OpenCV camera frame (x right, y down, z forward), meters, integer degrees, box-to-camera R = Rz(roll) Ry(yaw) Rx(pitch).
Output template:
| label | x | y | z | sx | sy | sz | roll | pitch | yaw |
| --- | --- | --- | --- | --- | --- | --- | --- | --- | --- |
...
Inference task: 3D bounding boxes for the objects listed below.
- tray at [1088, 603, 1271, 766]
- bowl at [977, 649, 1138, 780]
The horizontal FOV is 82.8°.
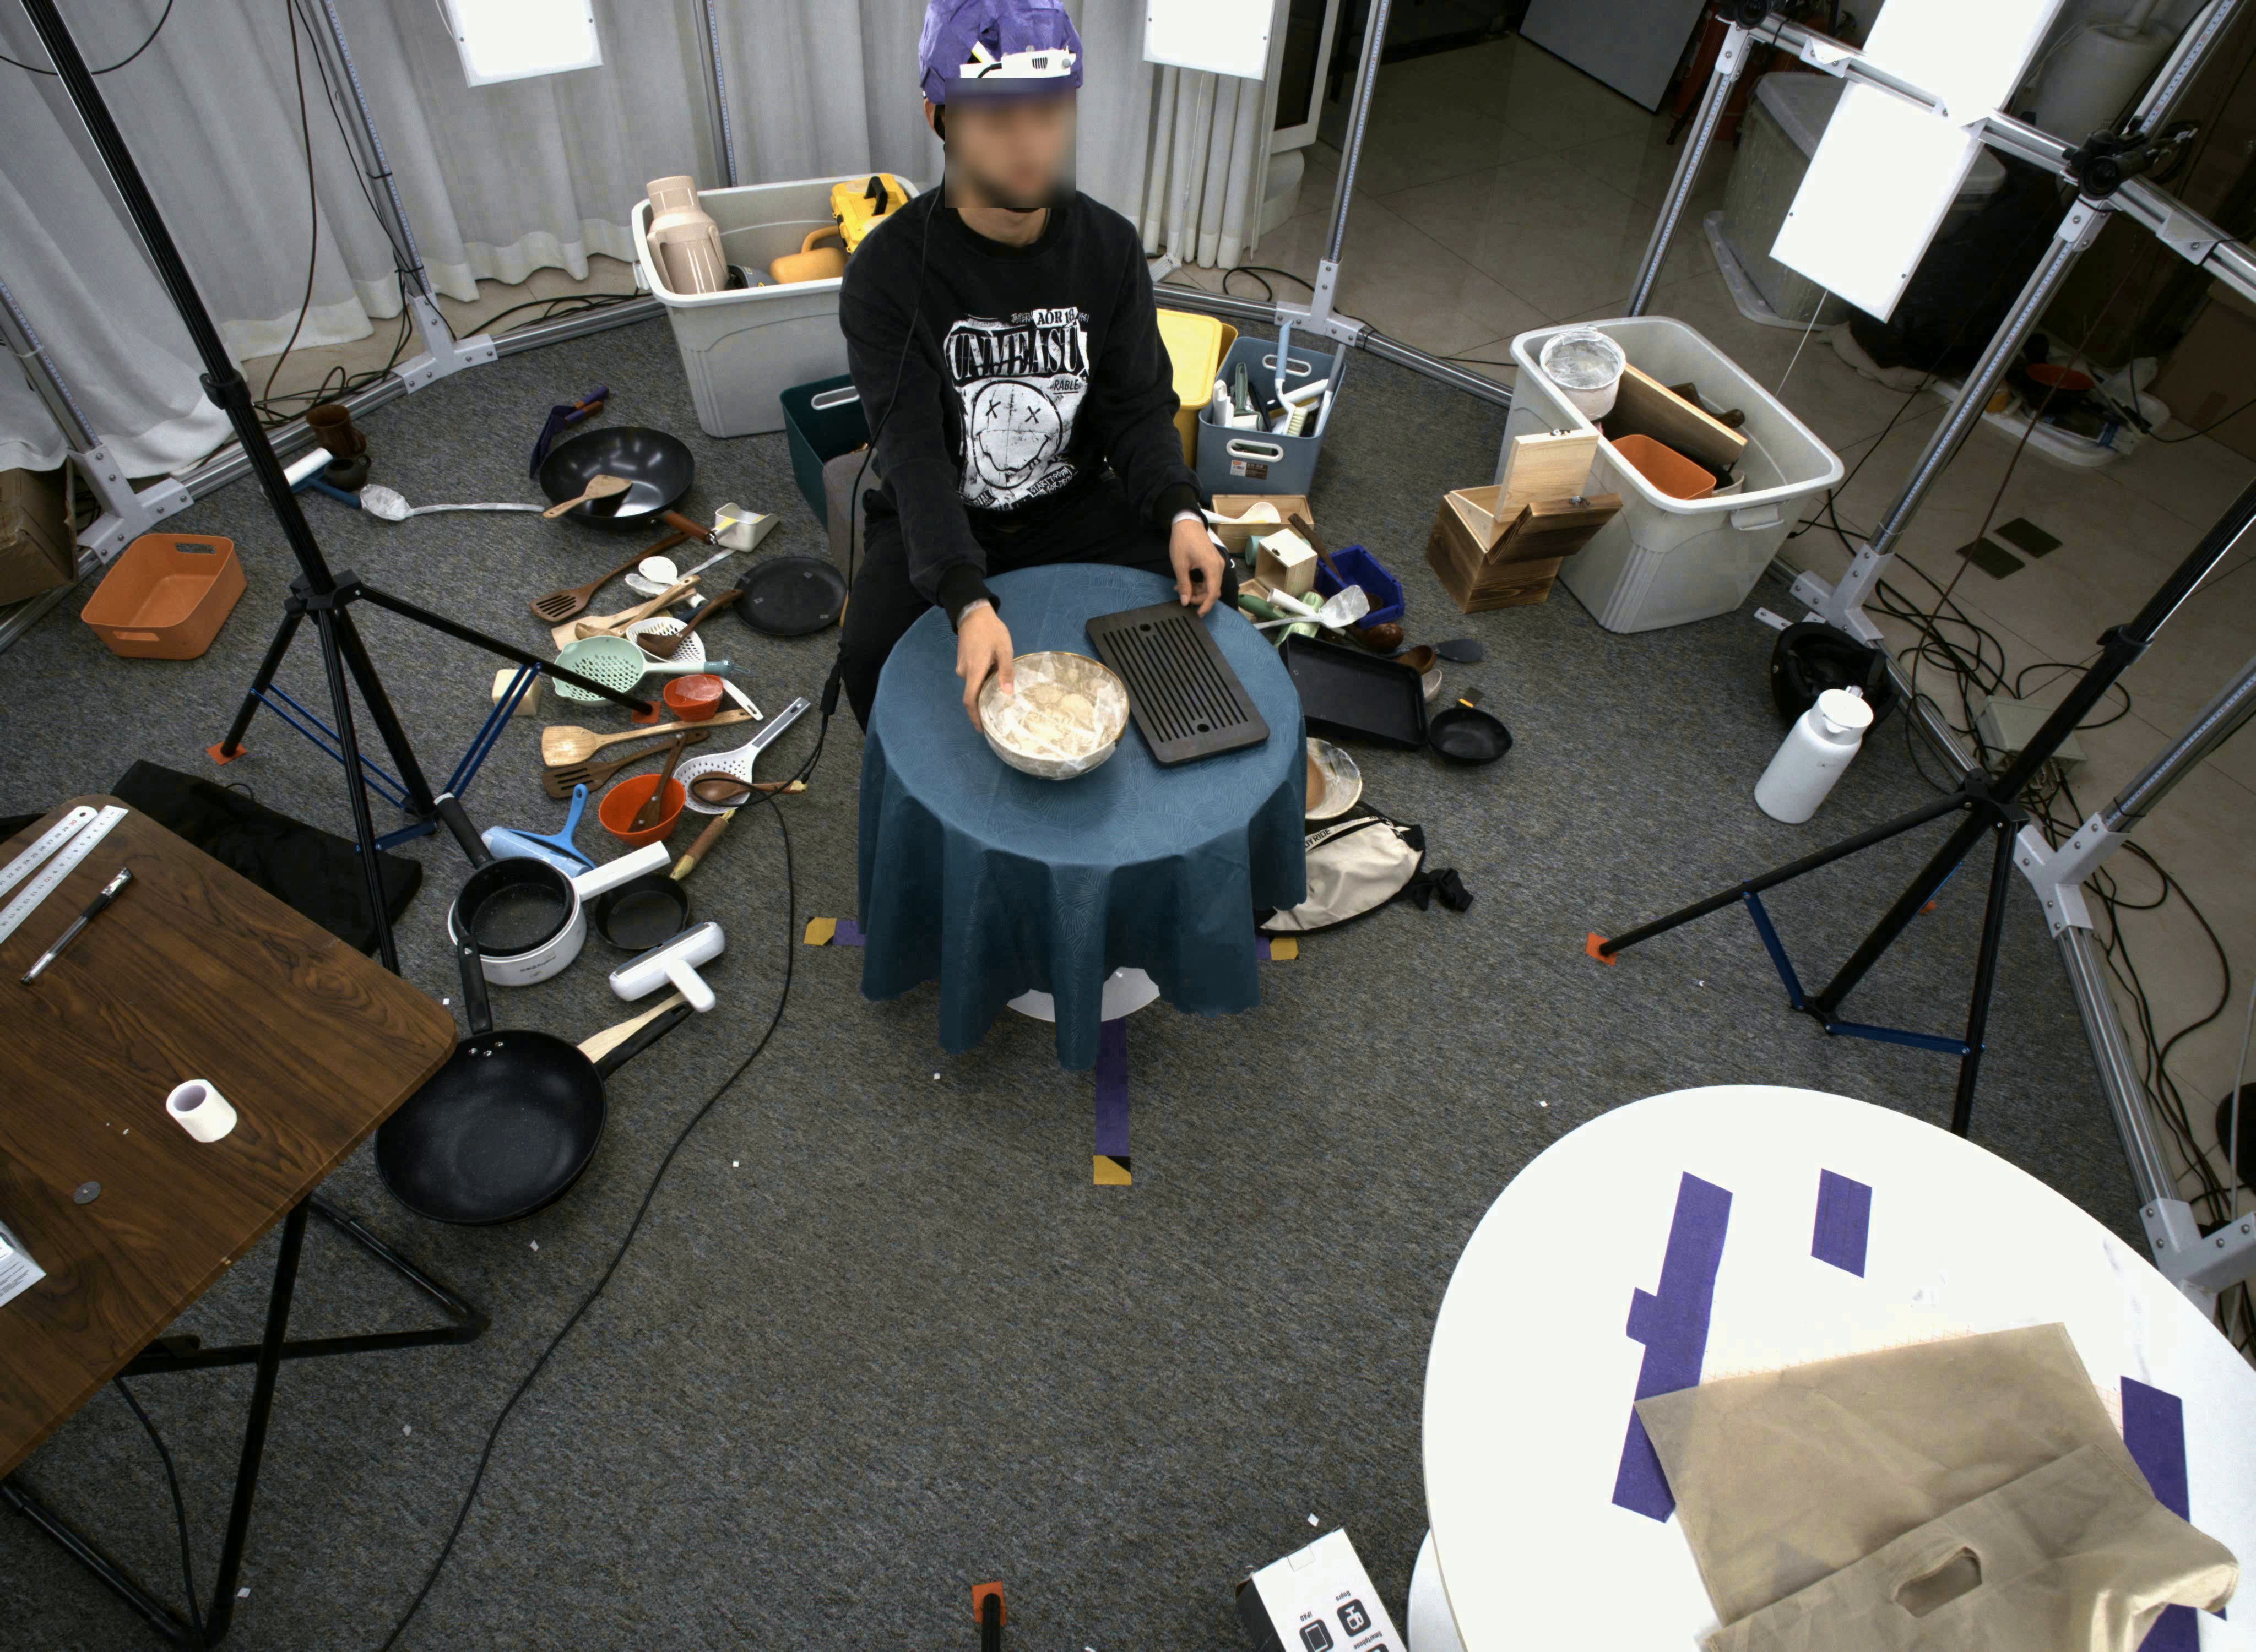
| label | x | y | z | sx | sy | sz | roll | pitch | yaw |
| --- | --- | --- | --- | --- | --- | --- | --- | --- | --- |
| tray | 0.071 | -0.210 | 1.860 | 0.170 | 0.018 | 0.313 | -14 | 51 | -16 |
| bowl | -0.096 | -0.136 | 1.735 | 0.214 | 0.092 | 0.220 | 1 | 50 | -2 |
